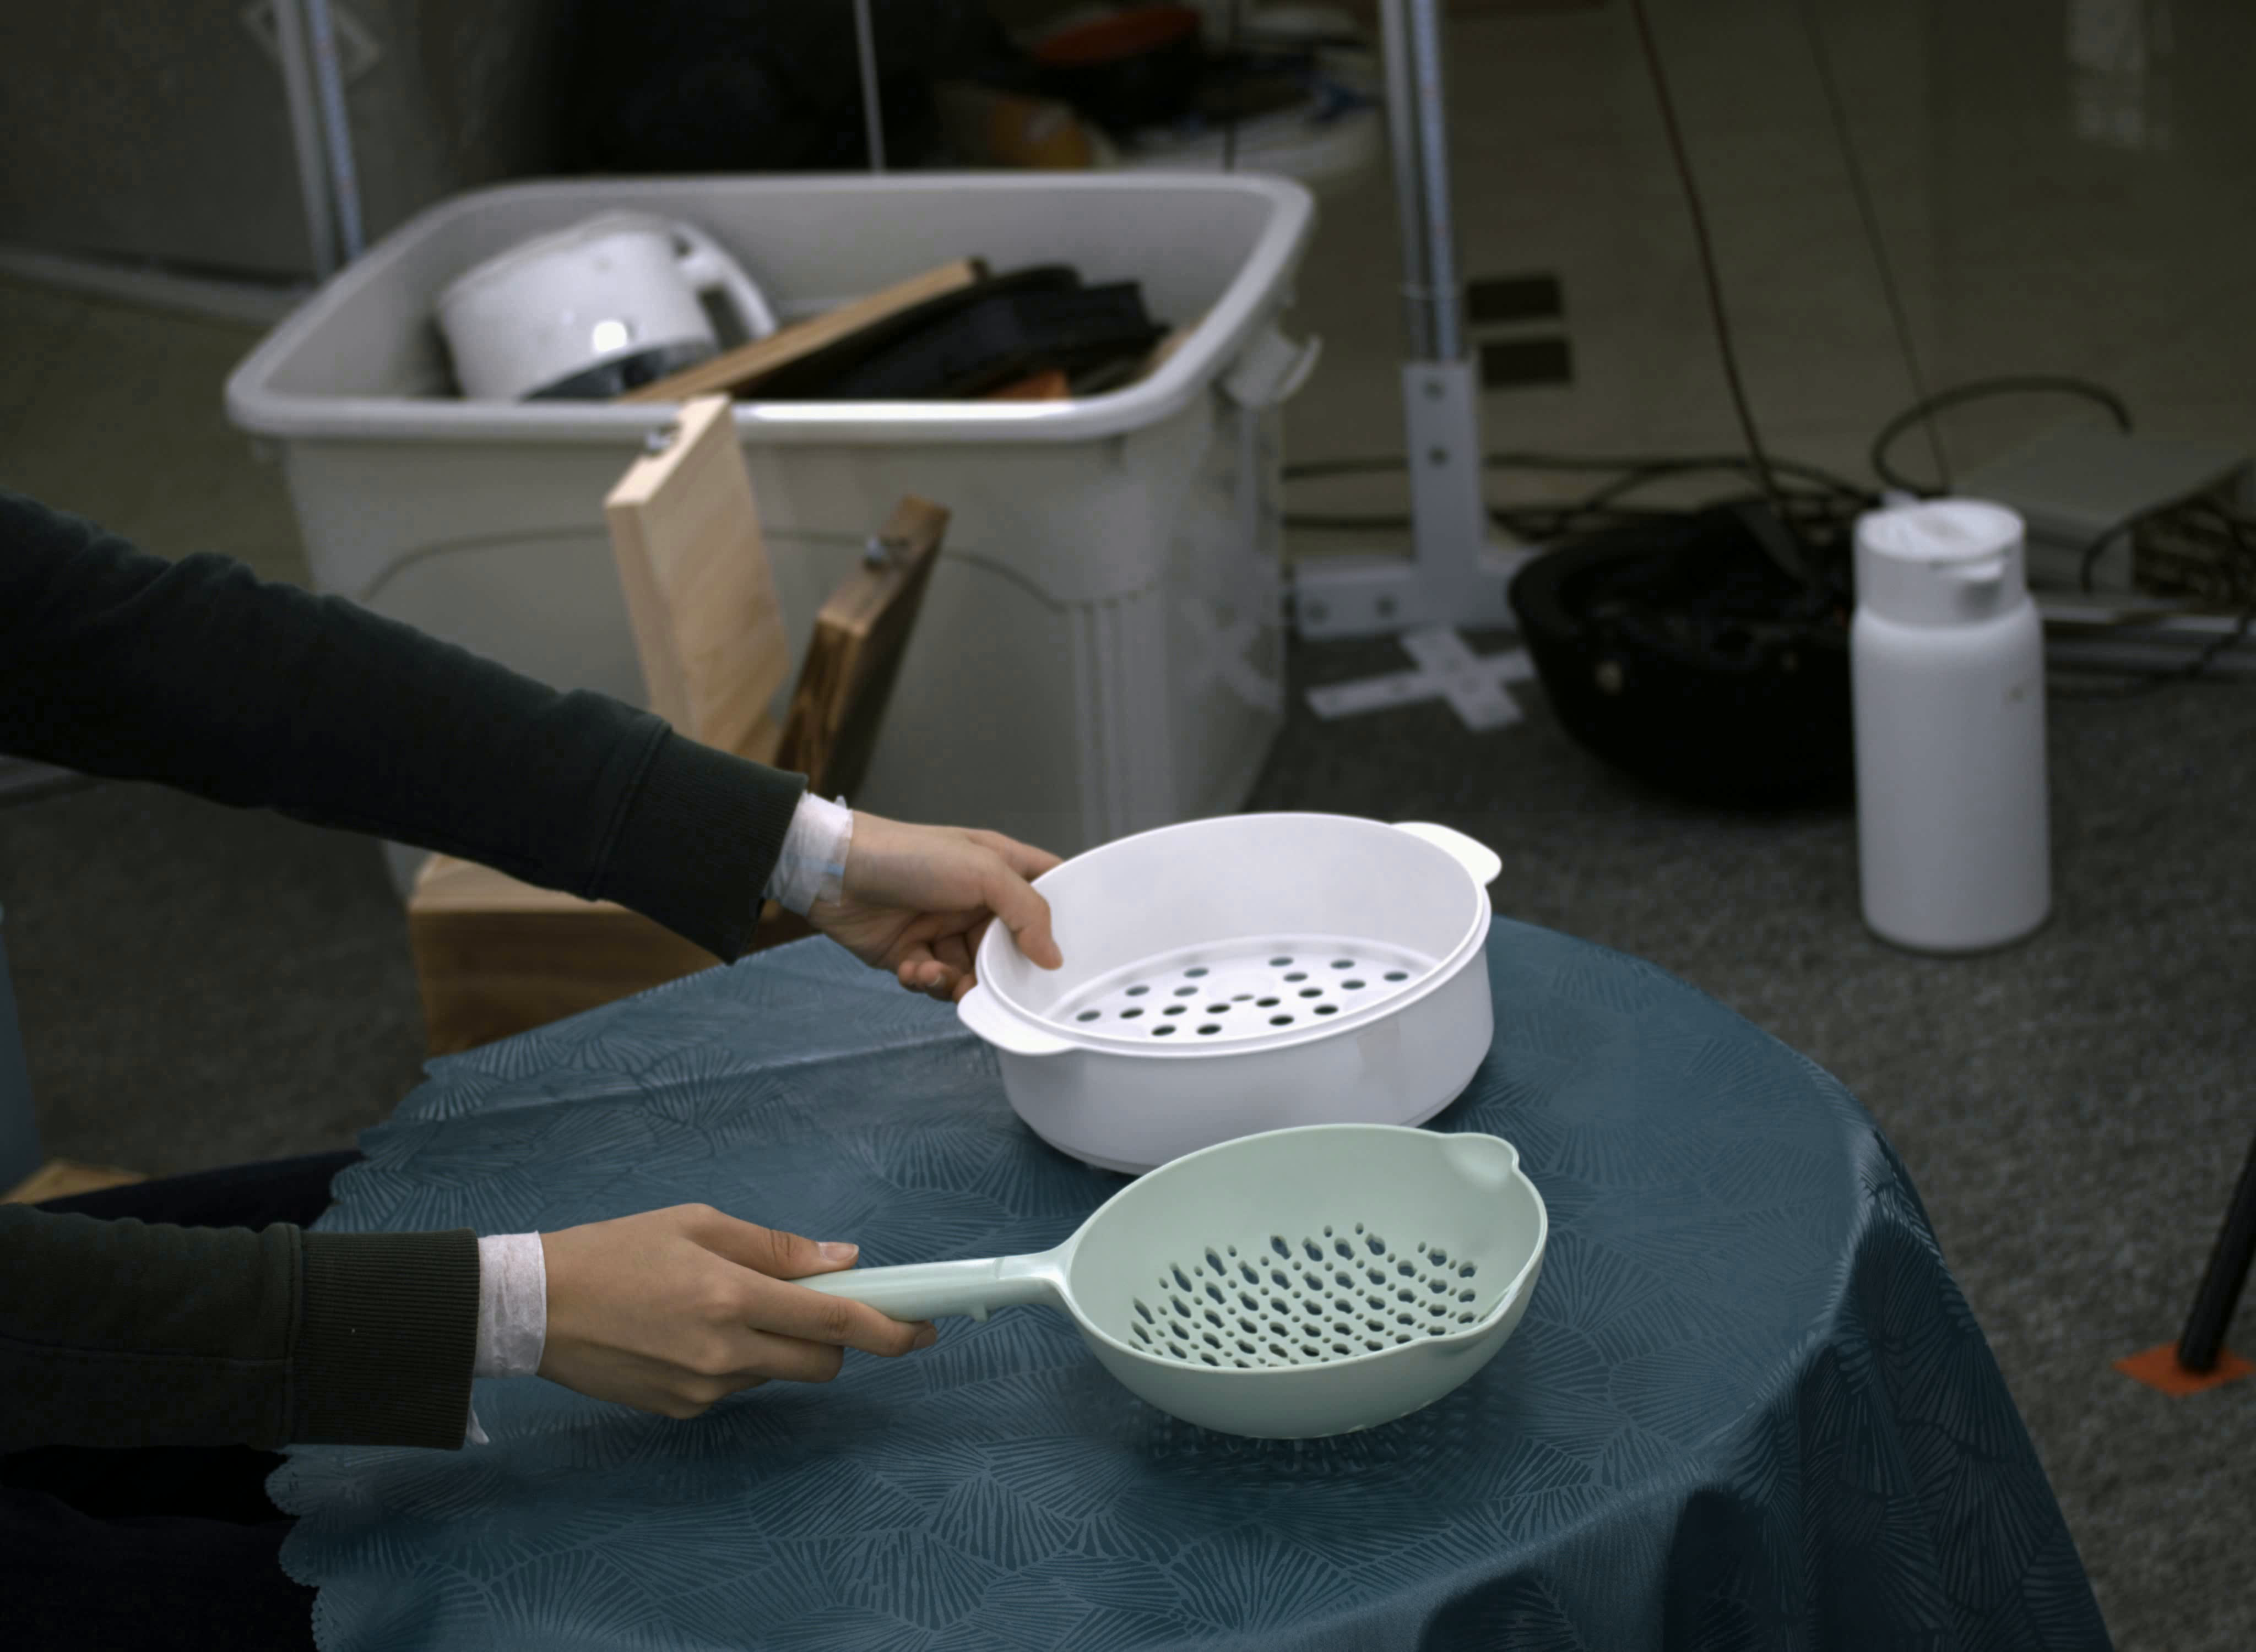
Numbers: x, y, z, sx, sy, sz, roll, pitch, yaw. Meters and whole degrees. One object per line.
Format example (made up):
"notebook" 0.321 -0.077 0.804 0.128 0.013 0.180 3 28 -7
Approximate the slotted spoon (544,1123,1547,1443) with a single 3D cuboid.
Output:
"slotted spoon" -0.032 0.167 2.004 0.358 0.076 0.167 2 26 6

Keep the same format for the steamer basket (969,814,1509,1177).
"steamer basket" 0.048 0.067 2.212 0.229 0.070 0.200 -22 28 -26
